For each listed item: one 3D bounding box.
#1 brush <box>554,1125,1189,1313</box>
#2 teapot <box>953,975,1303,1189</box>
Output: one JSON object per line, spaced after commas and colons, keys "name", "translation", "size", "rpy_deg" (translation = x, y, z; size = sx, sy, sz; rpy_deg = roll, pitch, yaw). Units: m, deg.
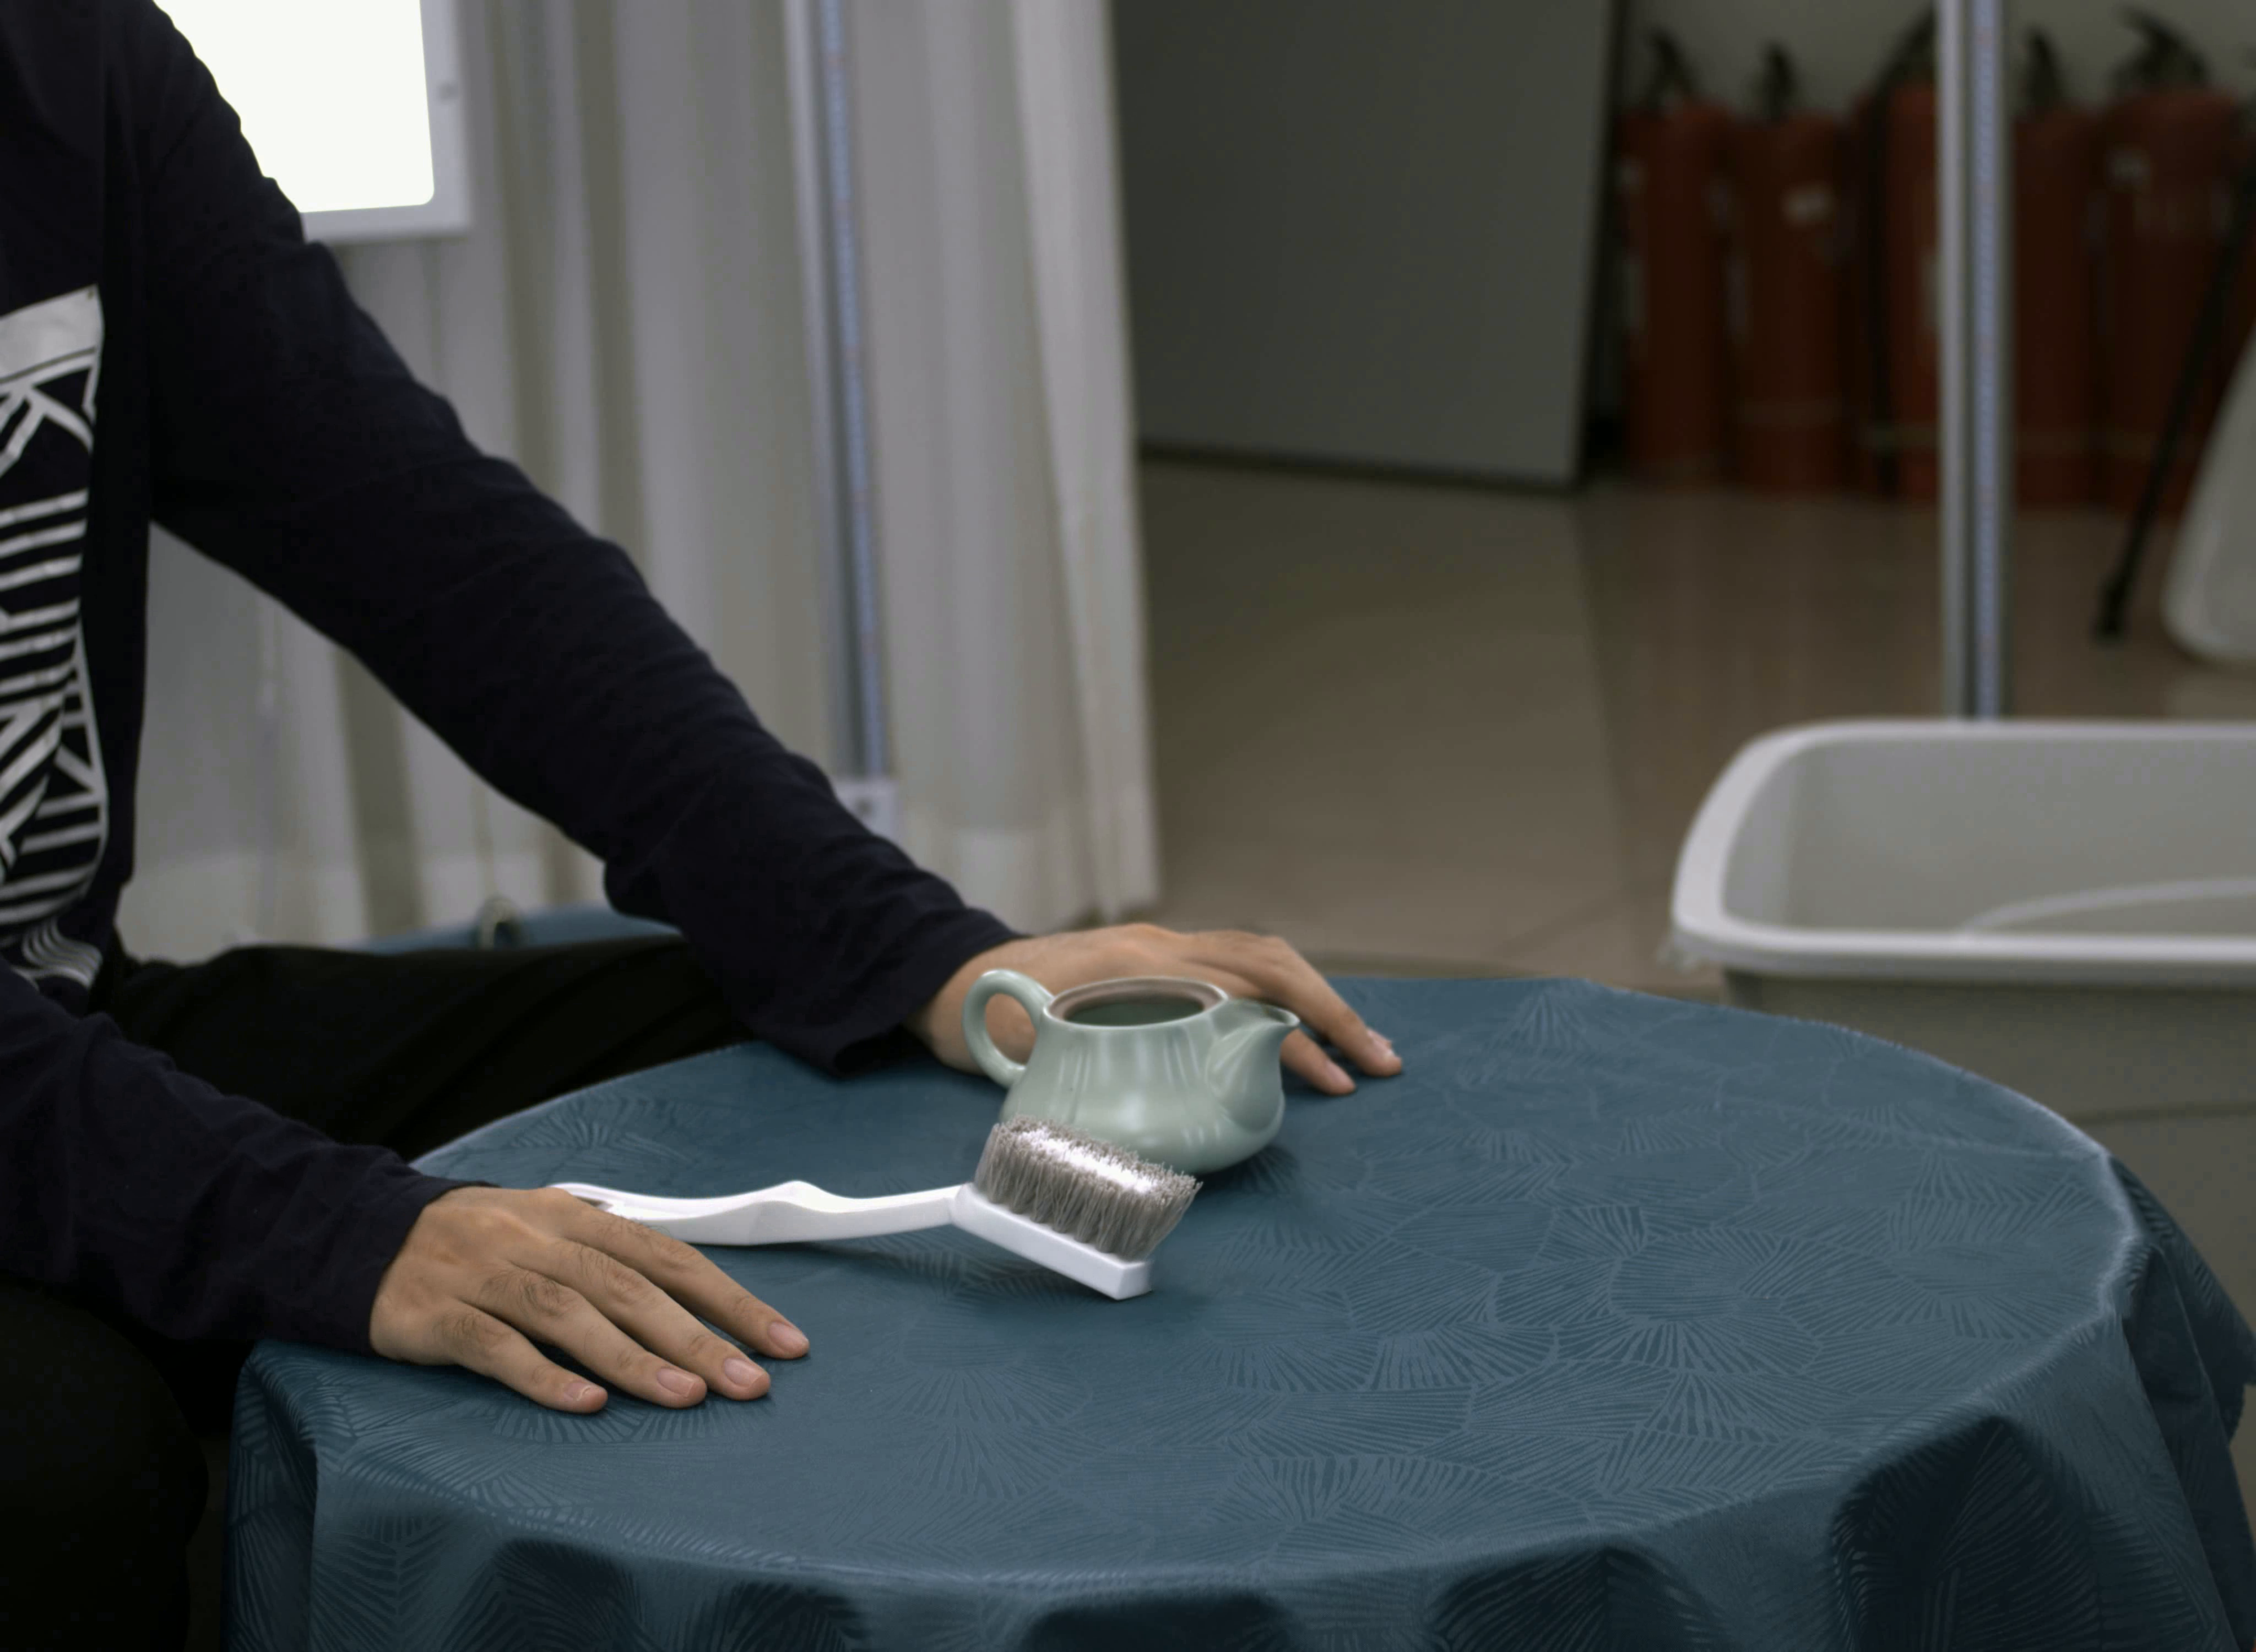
{"name": "brush", "translation": [-0.088, 0.115, 1.728], "size": [0.245, 0.051, 0.034], "rpy_deg": [5, 21, 33]}
{"name": "teapot", "translation": [0.000, 0.084, 1.799], "size": [0.137, 0.062, 0.094], "rpy_deg": [6, 20, 33]}
